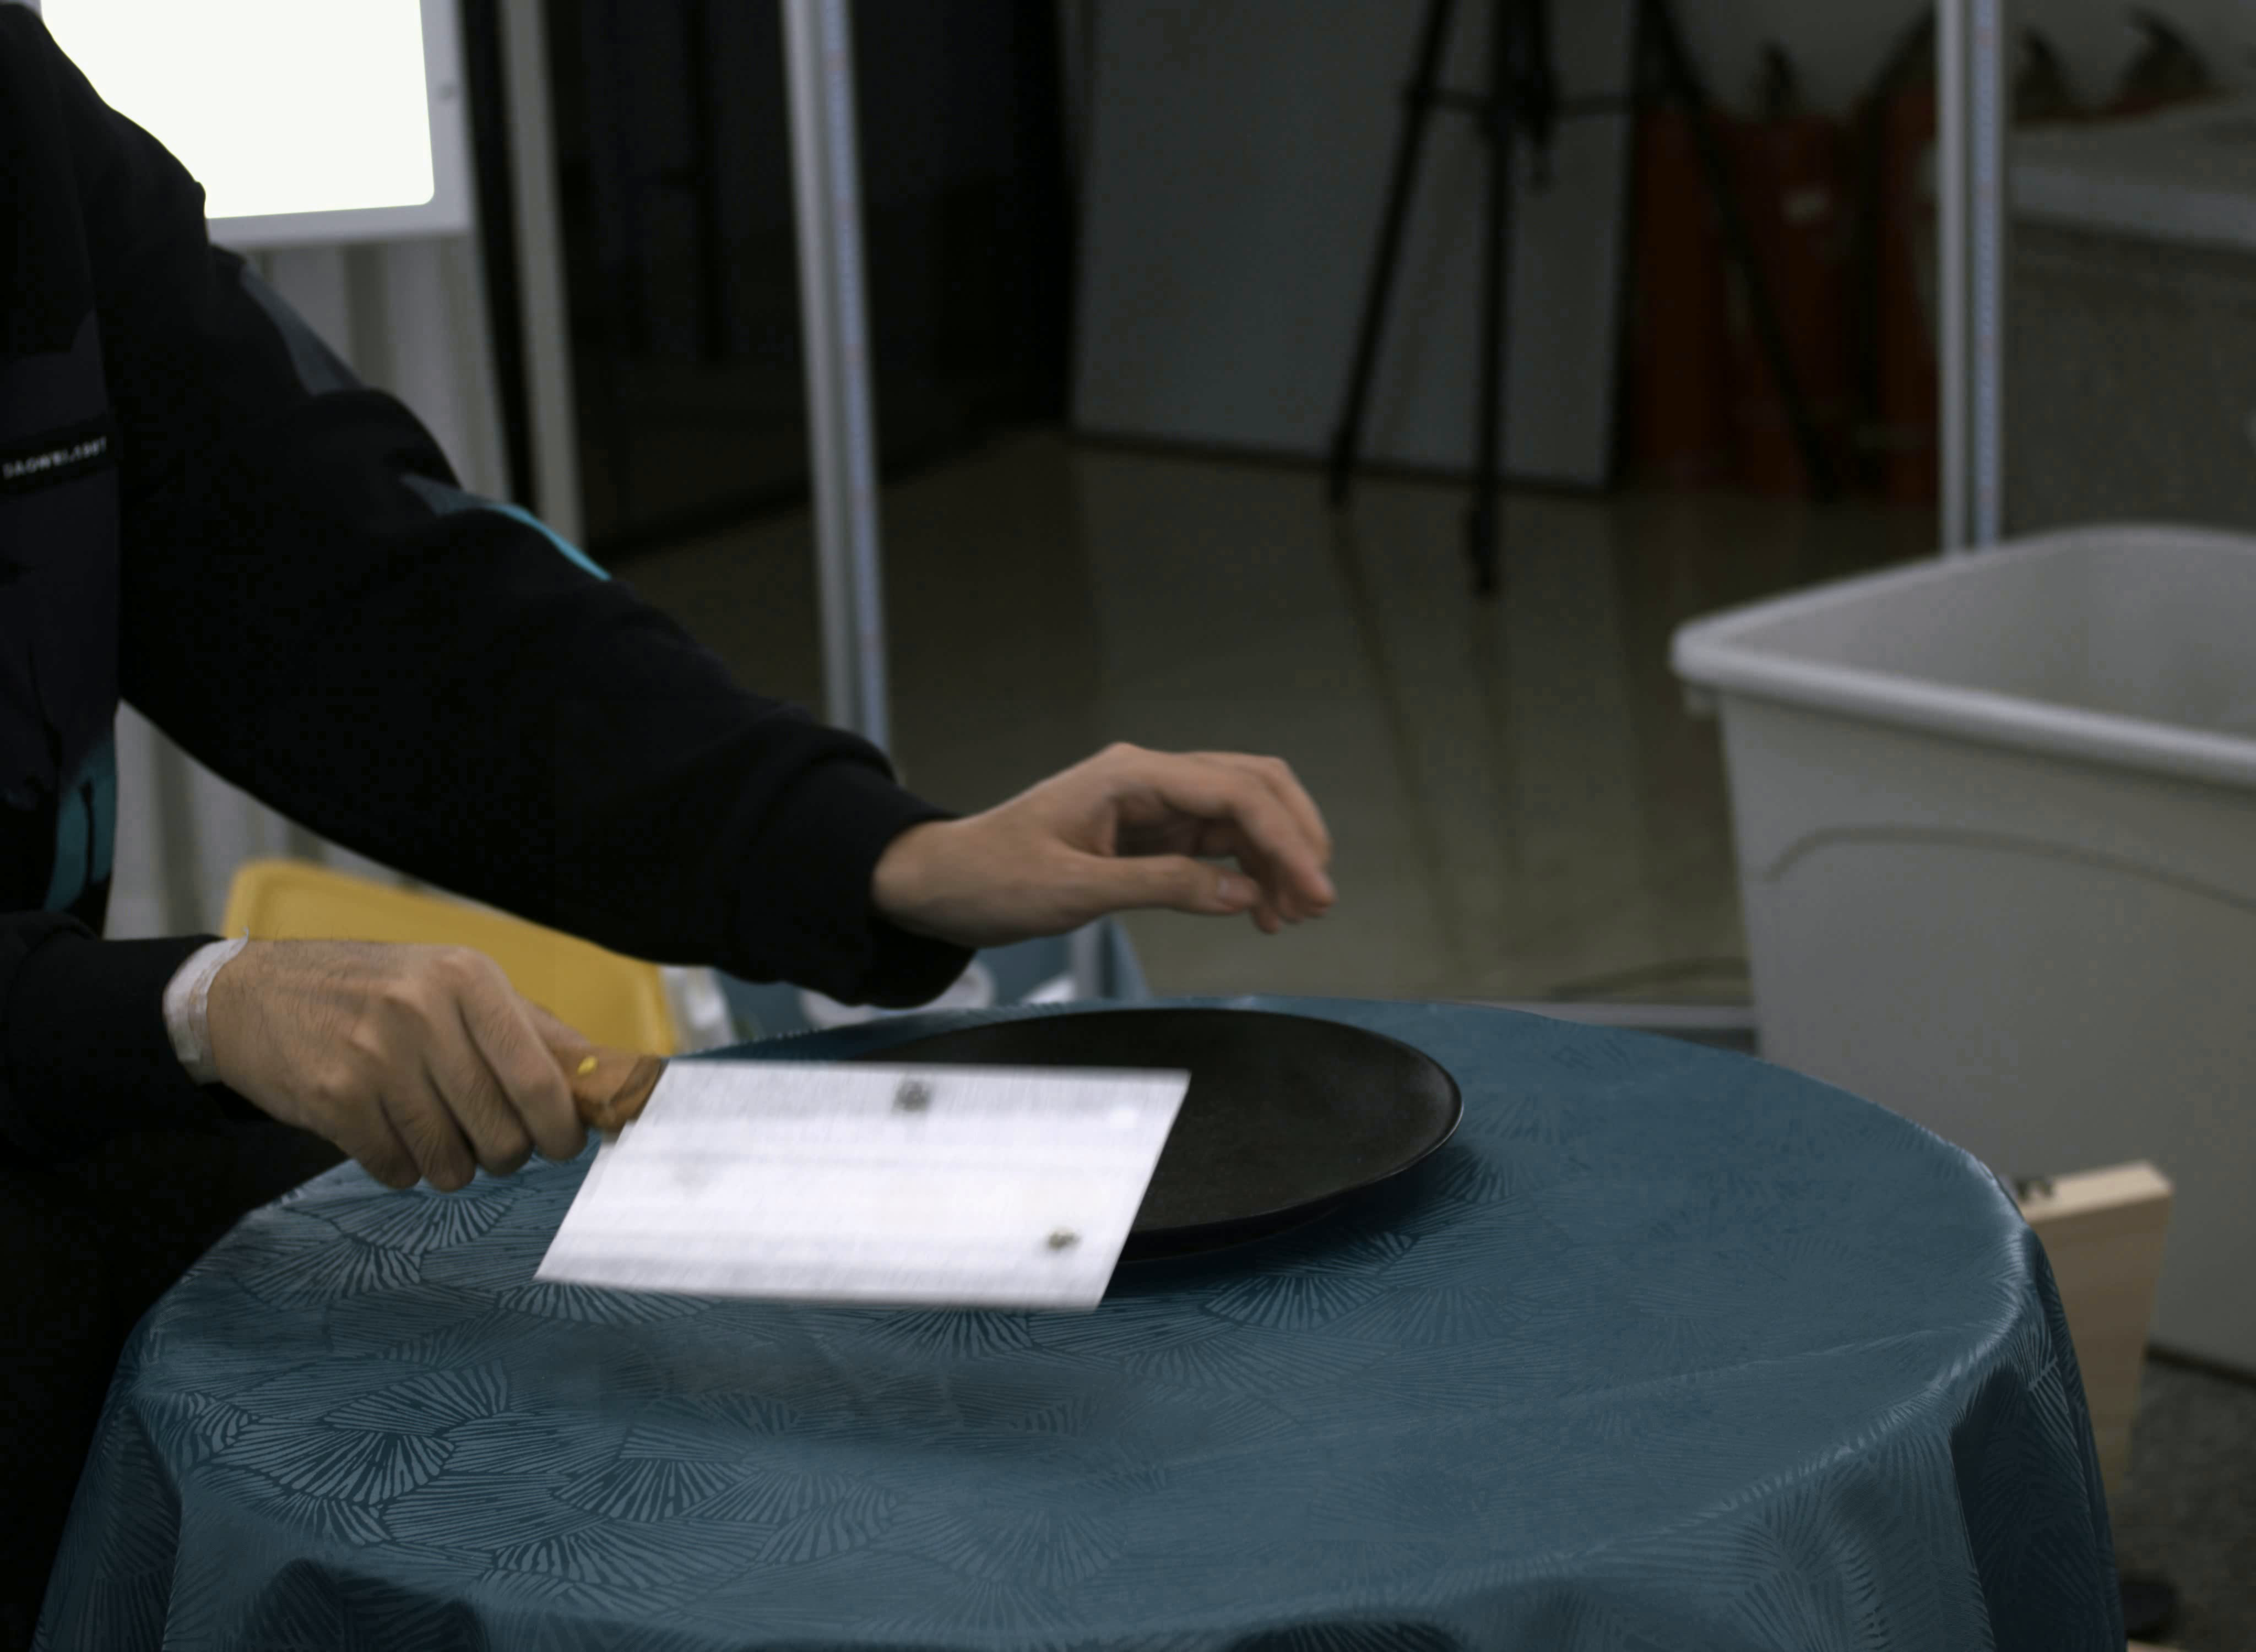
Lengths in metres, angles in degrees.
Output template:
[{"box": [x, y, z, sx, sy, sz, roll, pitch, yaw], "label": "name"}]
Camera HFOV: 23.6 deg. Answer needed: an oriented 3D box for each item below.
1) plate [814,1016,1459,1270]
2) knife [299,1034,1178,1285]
[{"box": [-0.010, 0.107, 1.781, 0.241, 0.024, 0.245, -4, 14, 0], "label": "plate"}, {"box": [-0.129, 0.101, 1.629, 0.306, 0.021, 0.093, -1, 46, 27], "label": "knife"}]
